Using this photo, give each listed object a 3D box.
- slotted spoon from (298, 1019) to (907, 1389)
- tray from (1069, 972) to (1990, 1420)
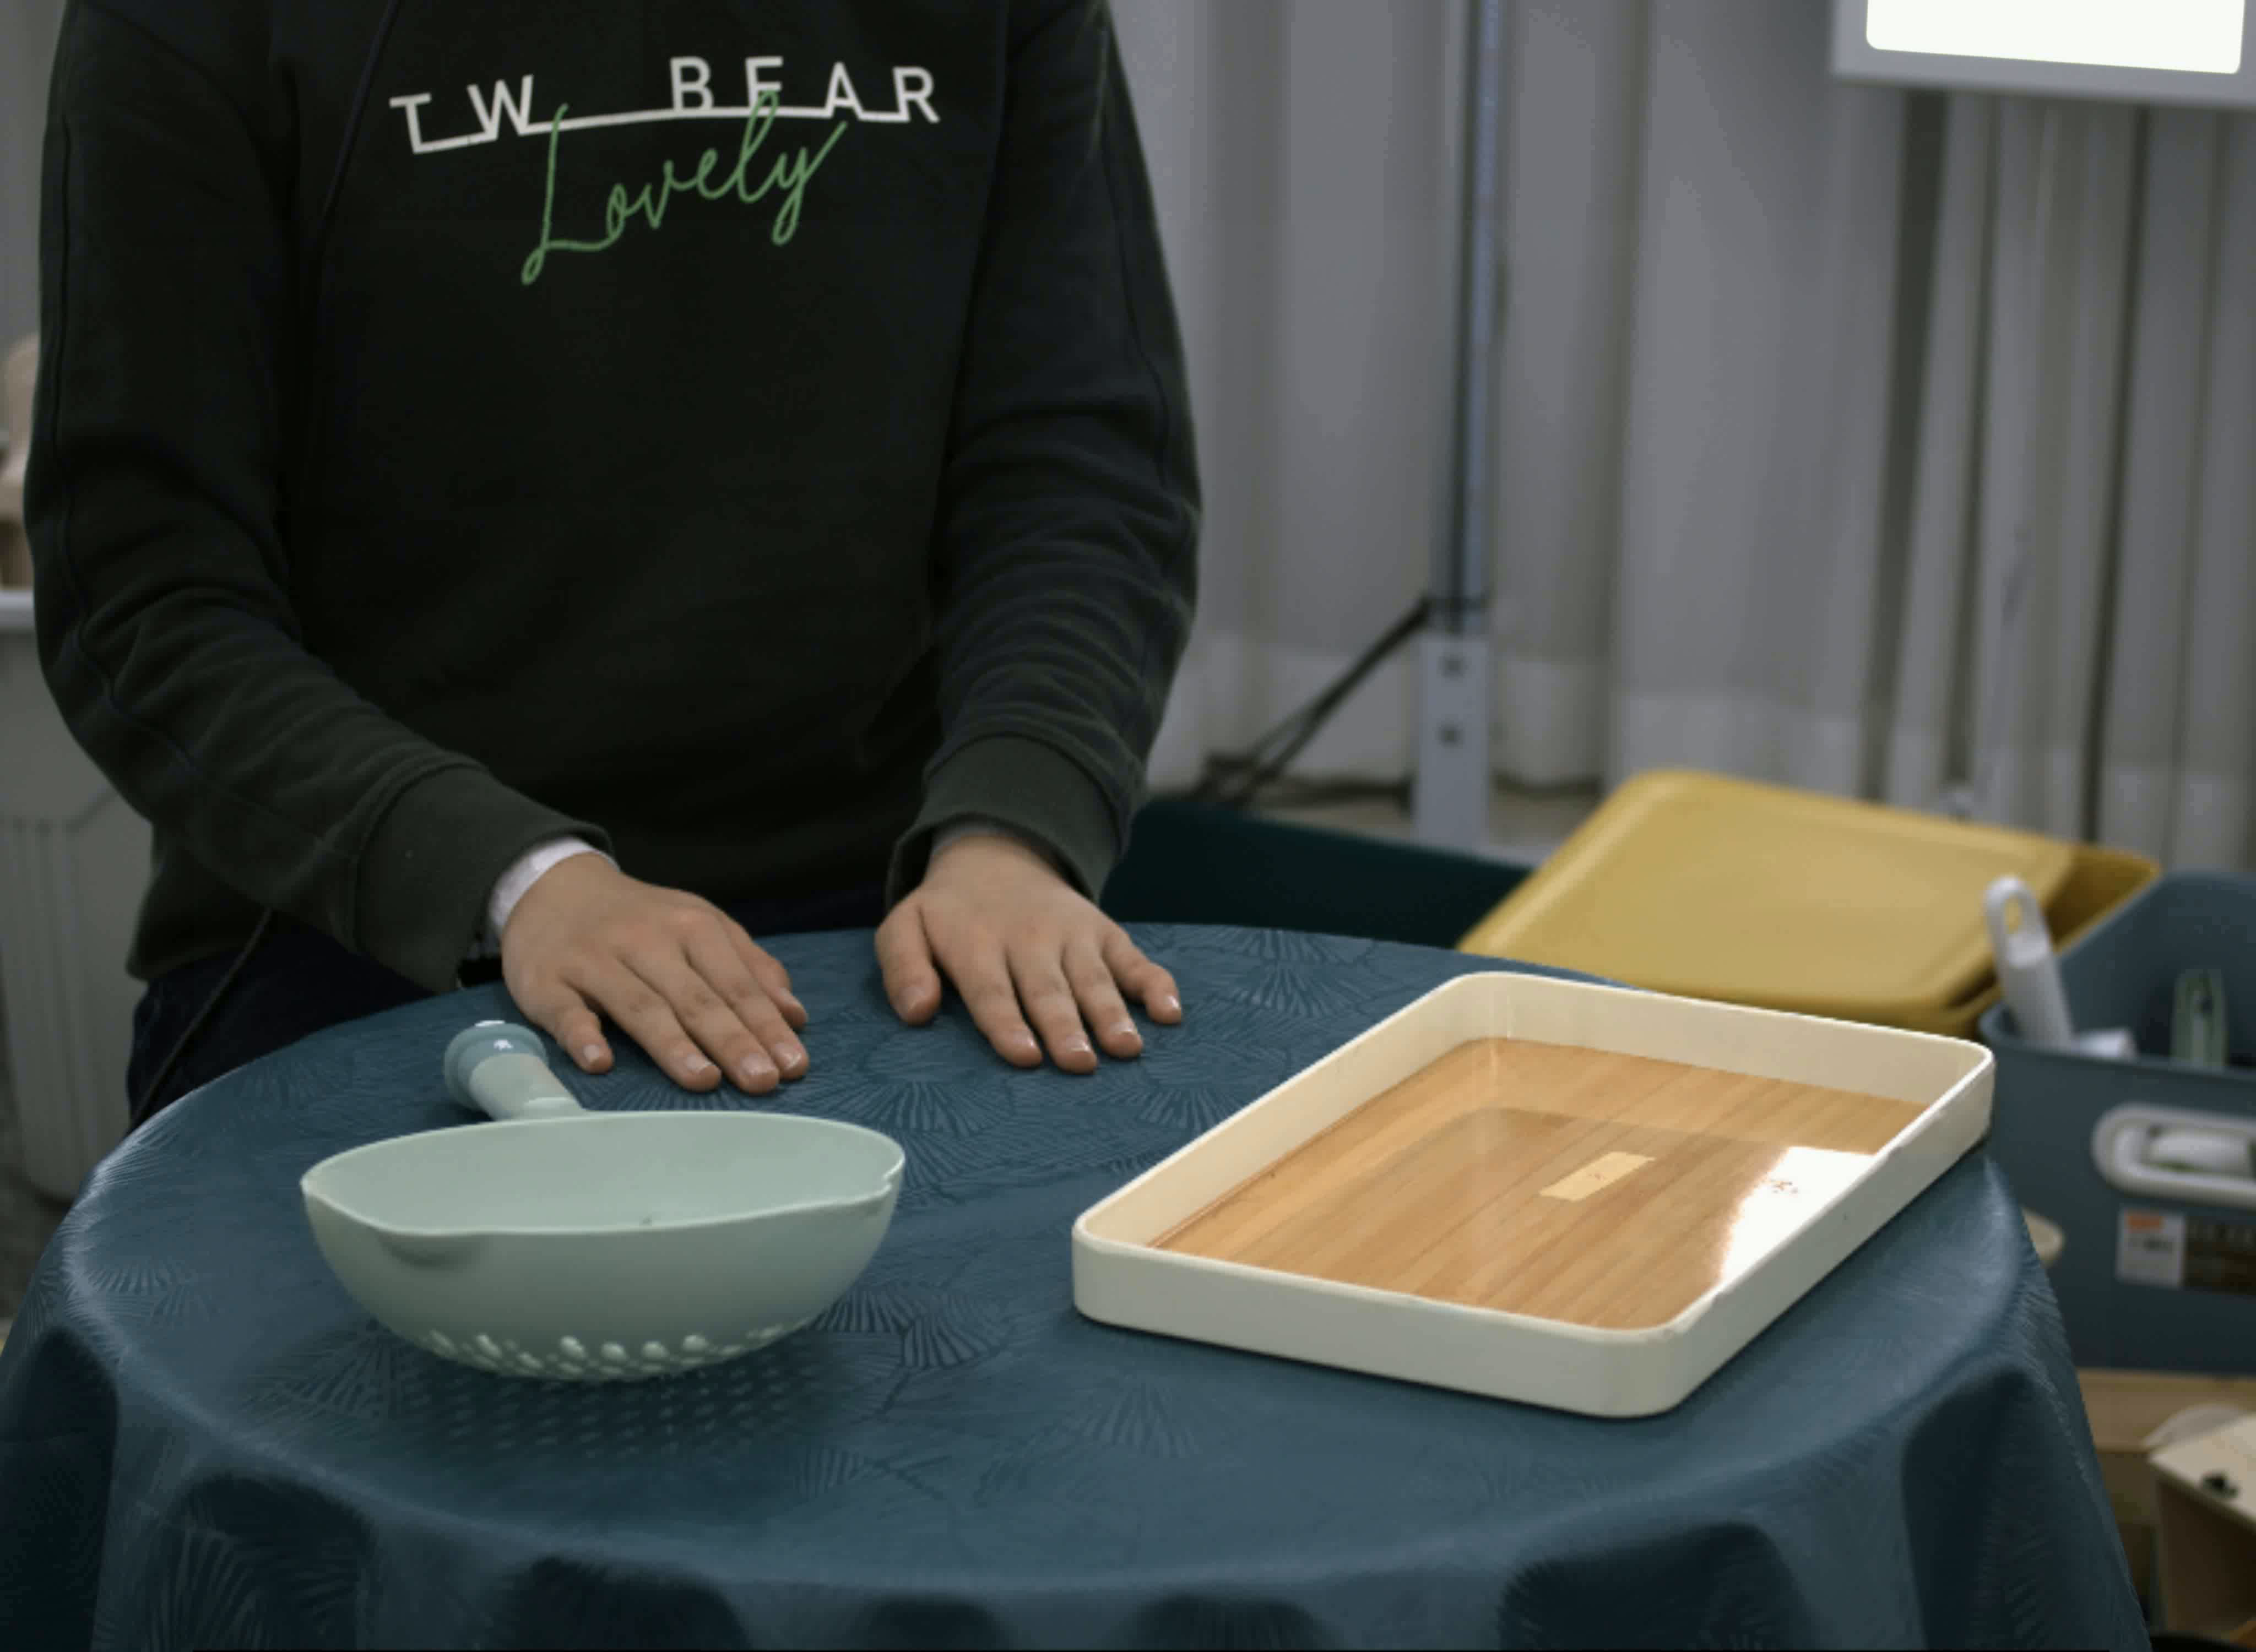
[{"bbox_3d":[-0.169,0.095,1.560,0.169,0.076,0.355,-3,16,-14],"label":"slotted spoon"},{"bbox_3d":[0.129,0.107,1.604,0.189,0.027,0.301,9,17,26],"label":"tray"}]
